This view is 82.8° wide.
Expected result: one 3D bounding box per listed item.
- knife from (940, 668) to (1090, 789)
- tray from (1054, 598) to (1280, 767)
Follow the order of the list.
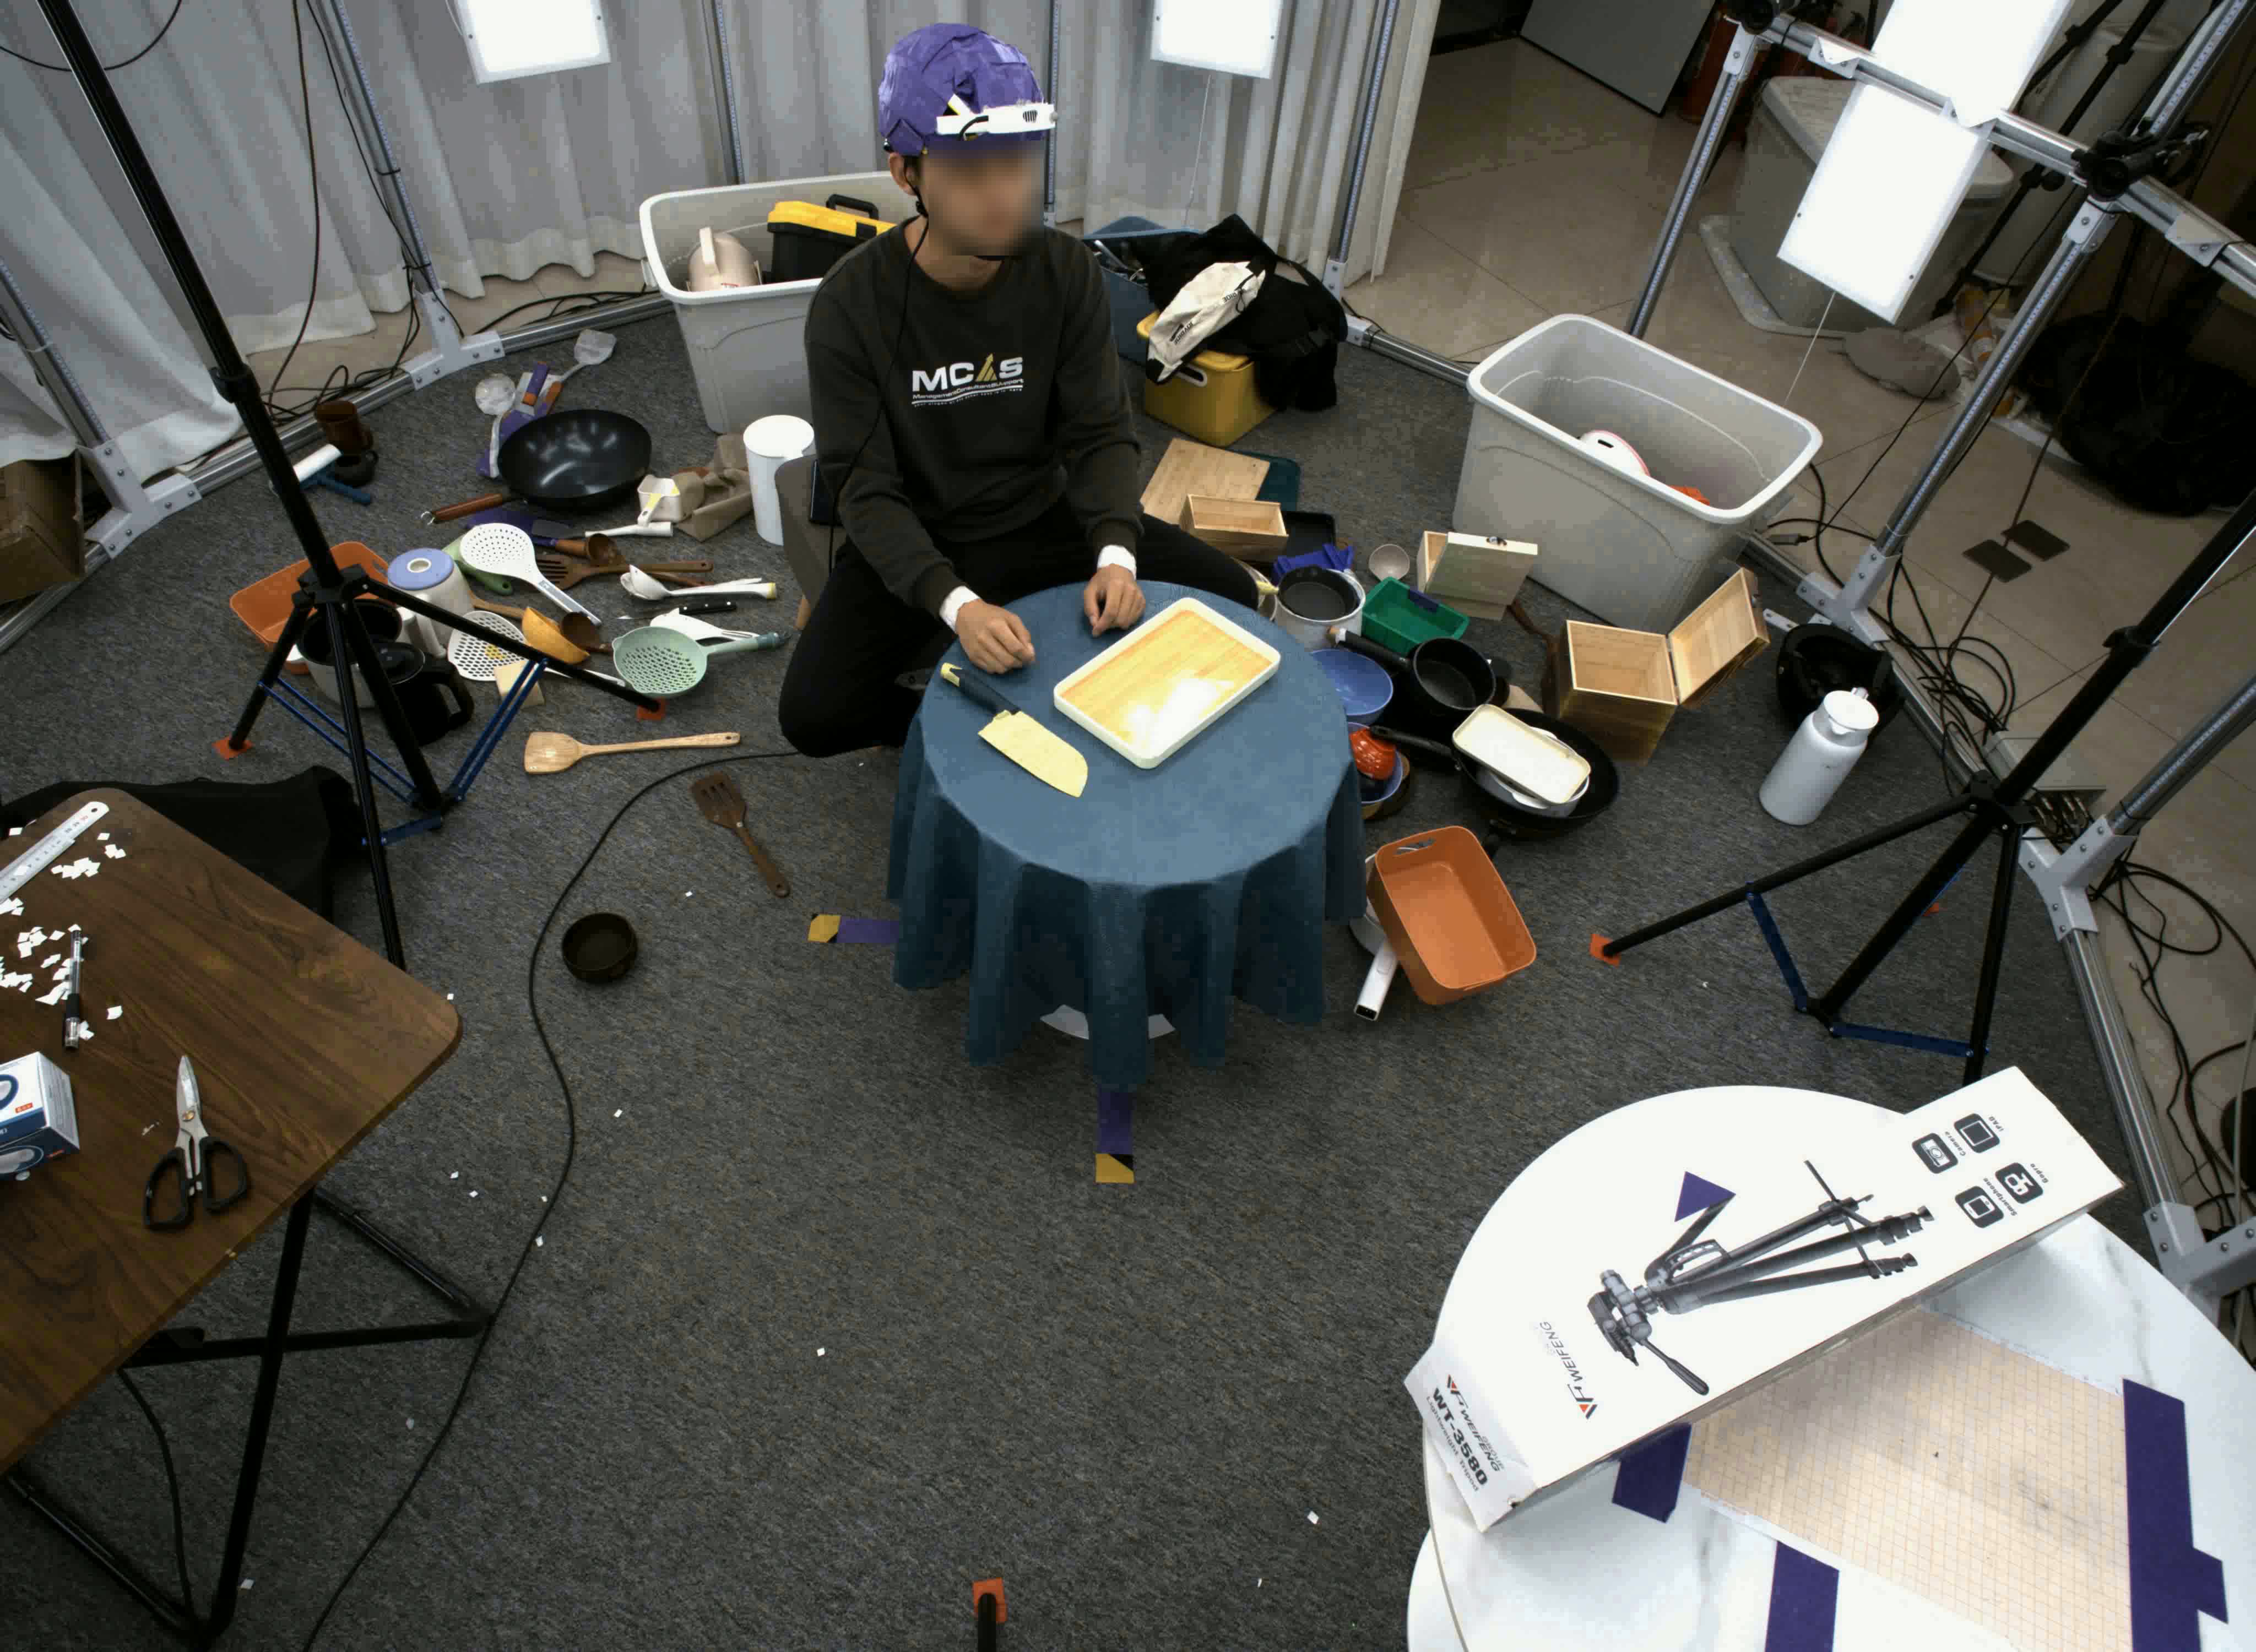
[{"bbox_3d":[-0.162,-0.134,1.763,0.293,0.026,0.082,37,55,24],"label":"knife"},{"bbox_3d":[0.058,-0.212,1.838,0.194,0.027,0.303,36,56,25],"label":"tray"}]
